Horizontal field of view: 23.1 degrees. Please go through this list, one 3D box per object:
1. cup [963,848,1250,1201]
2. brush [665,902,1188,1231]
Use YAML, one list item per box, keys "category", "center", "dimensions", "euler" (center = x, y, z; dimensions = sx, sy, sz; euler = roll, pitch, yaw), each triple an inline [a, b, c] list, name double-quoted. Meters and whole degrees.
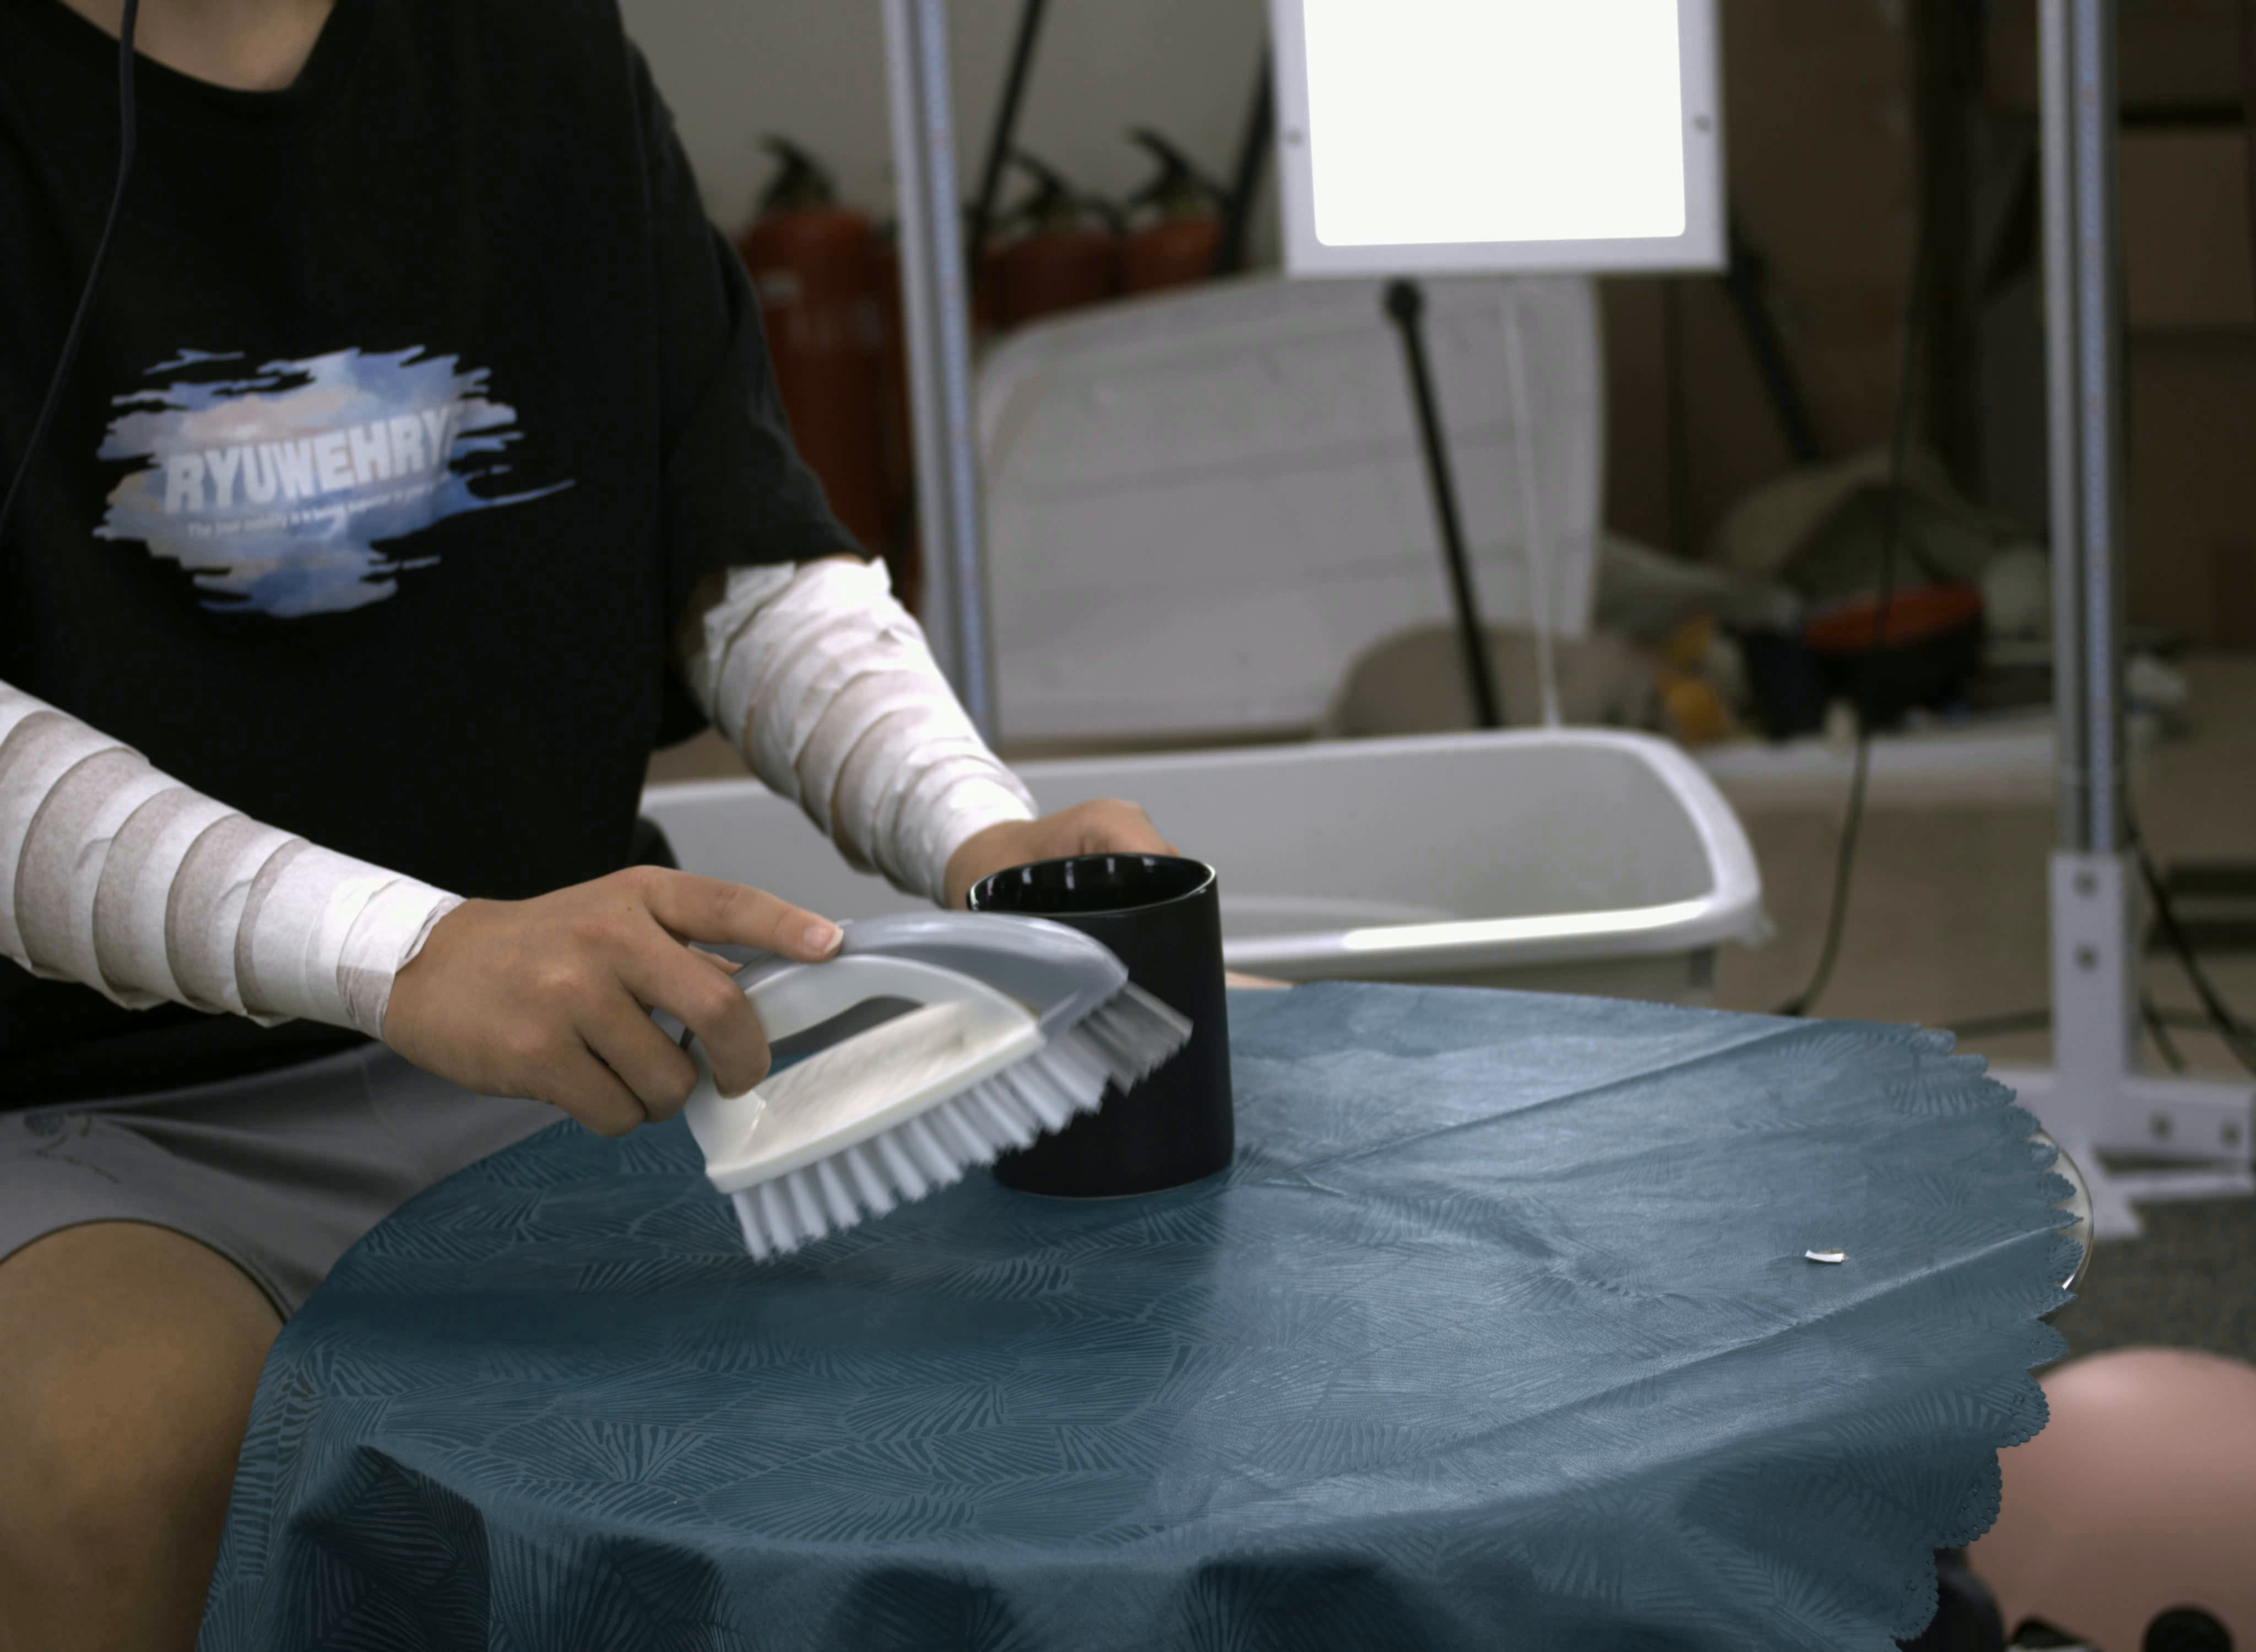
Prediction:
- category: "cup"
  center: [-0.006, 0.065, 1.939]
  dimensions: [0.089, 0.105, 0.123]
  euler: [-8, 13, 7]
- category: "brush"
  center: [-0.074, 0.063, 1.799]
  dimensions: [0.179, 0.093, 0.061]
  euler: [-22, 30, 29]
